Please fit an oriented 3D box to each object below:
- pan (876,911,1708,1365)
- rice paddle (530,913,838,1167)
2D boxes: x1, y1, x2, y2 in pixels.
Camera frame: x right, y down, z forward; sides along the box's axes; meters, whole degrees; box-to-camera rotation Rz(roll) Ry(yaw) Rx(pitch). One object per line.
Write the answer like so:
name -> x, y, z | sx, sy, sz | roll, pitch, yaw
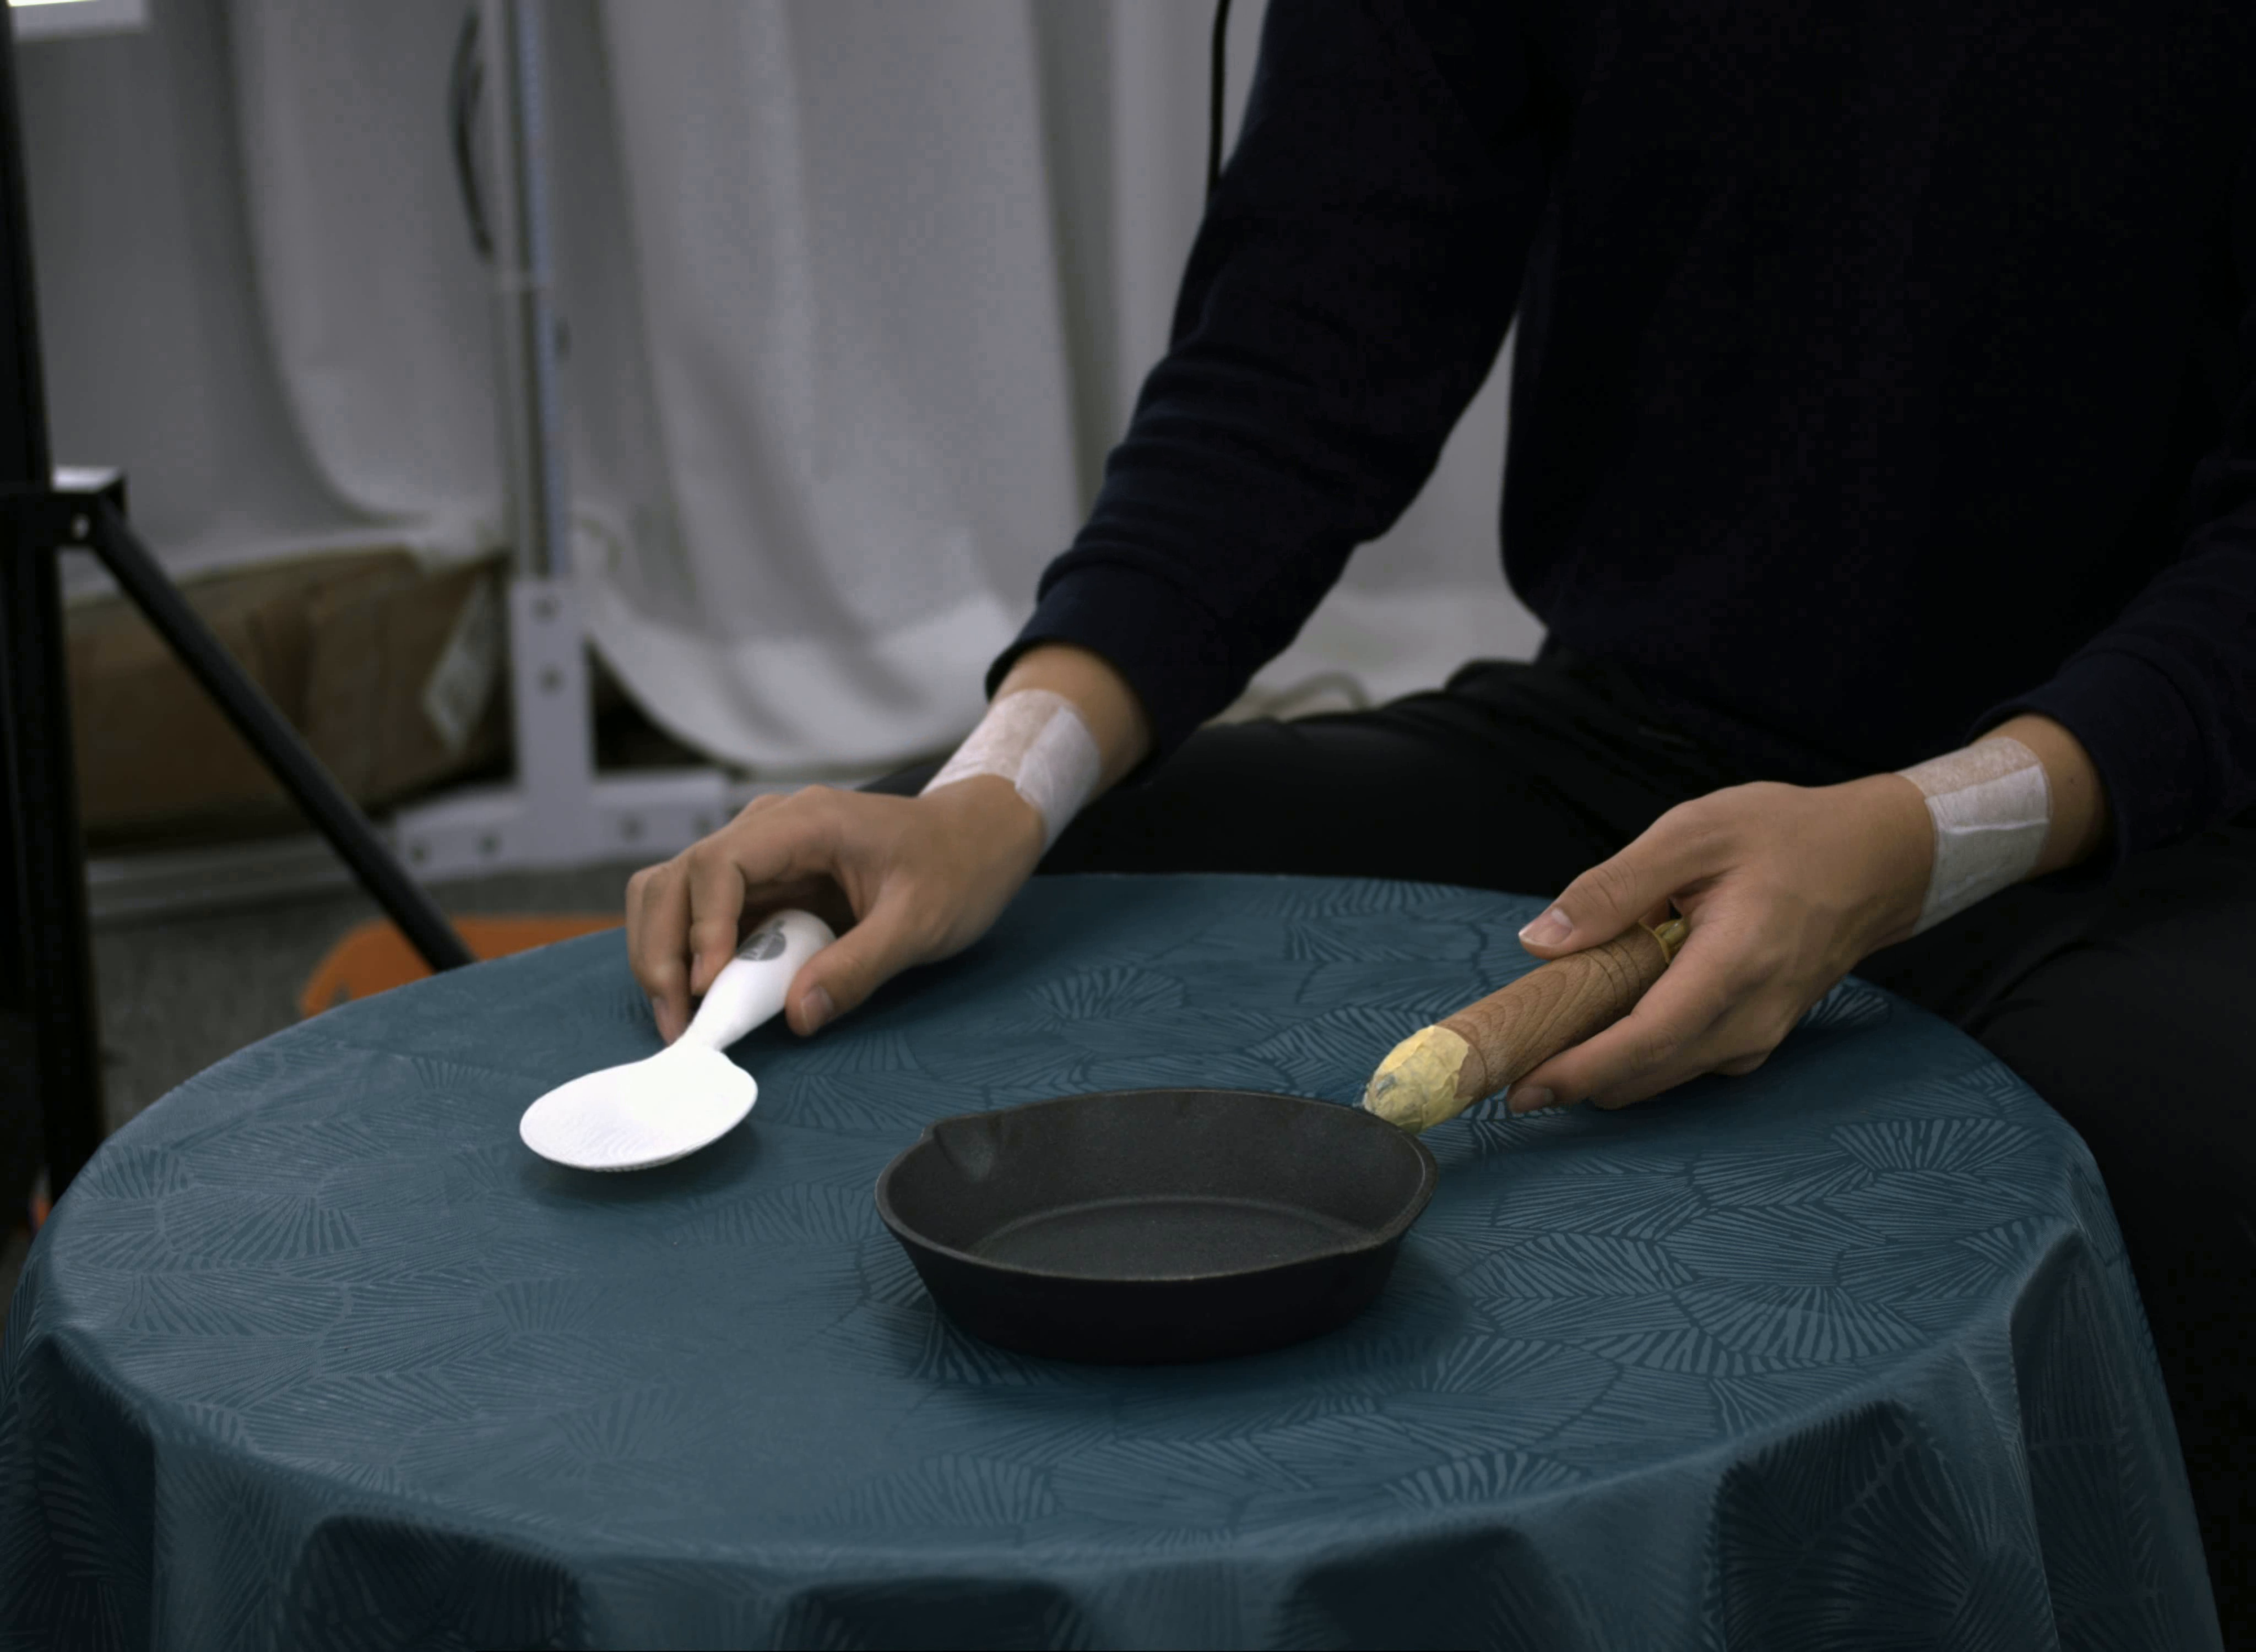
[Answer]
pan -> 0.067, 0.086, 1.531 | 0.317, 0.049, 0.173 | -19, 22, -41
rice paddle -> -0.132, 0.069, 1.664 | 0.069, 0.029, 0.204 | -1, 15, 14
